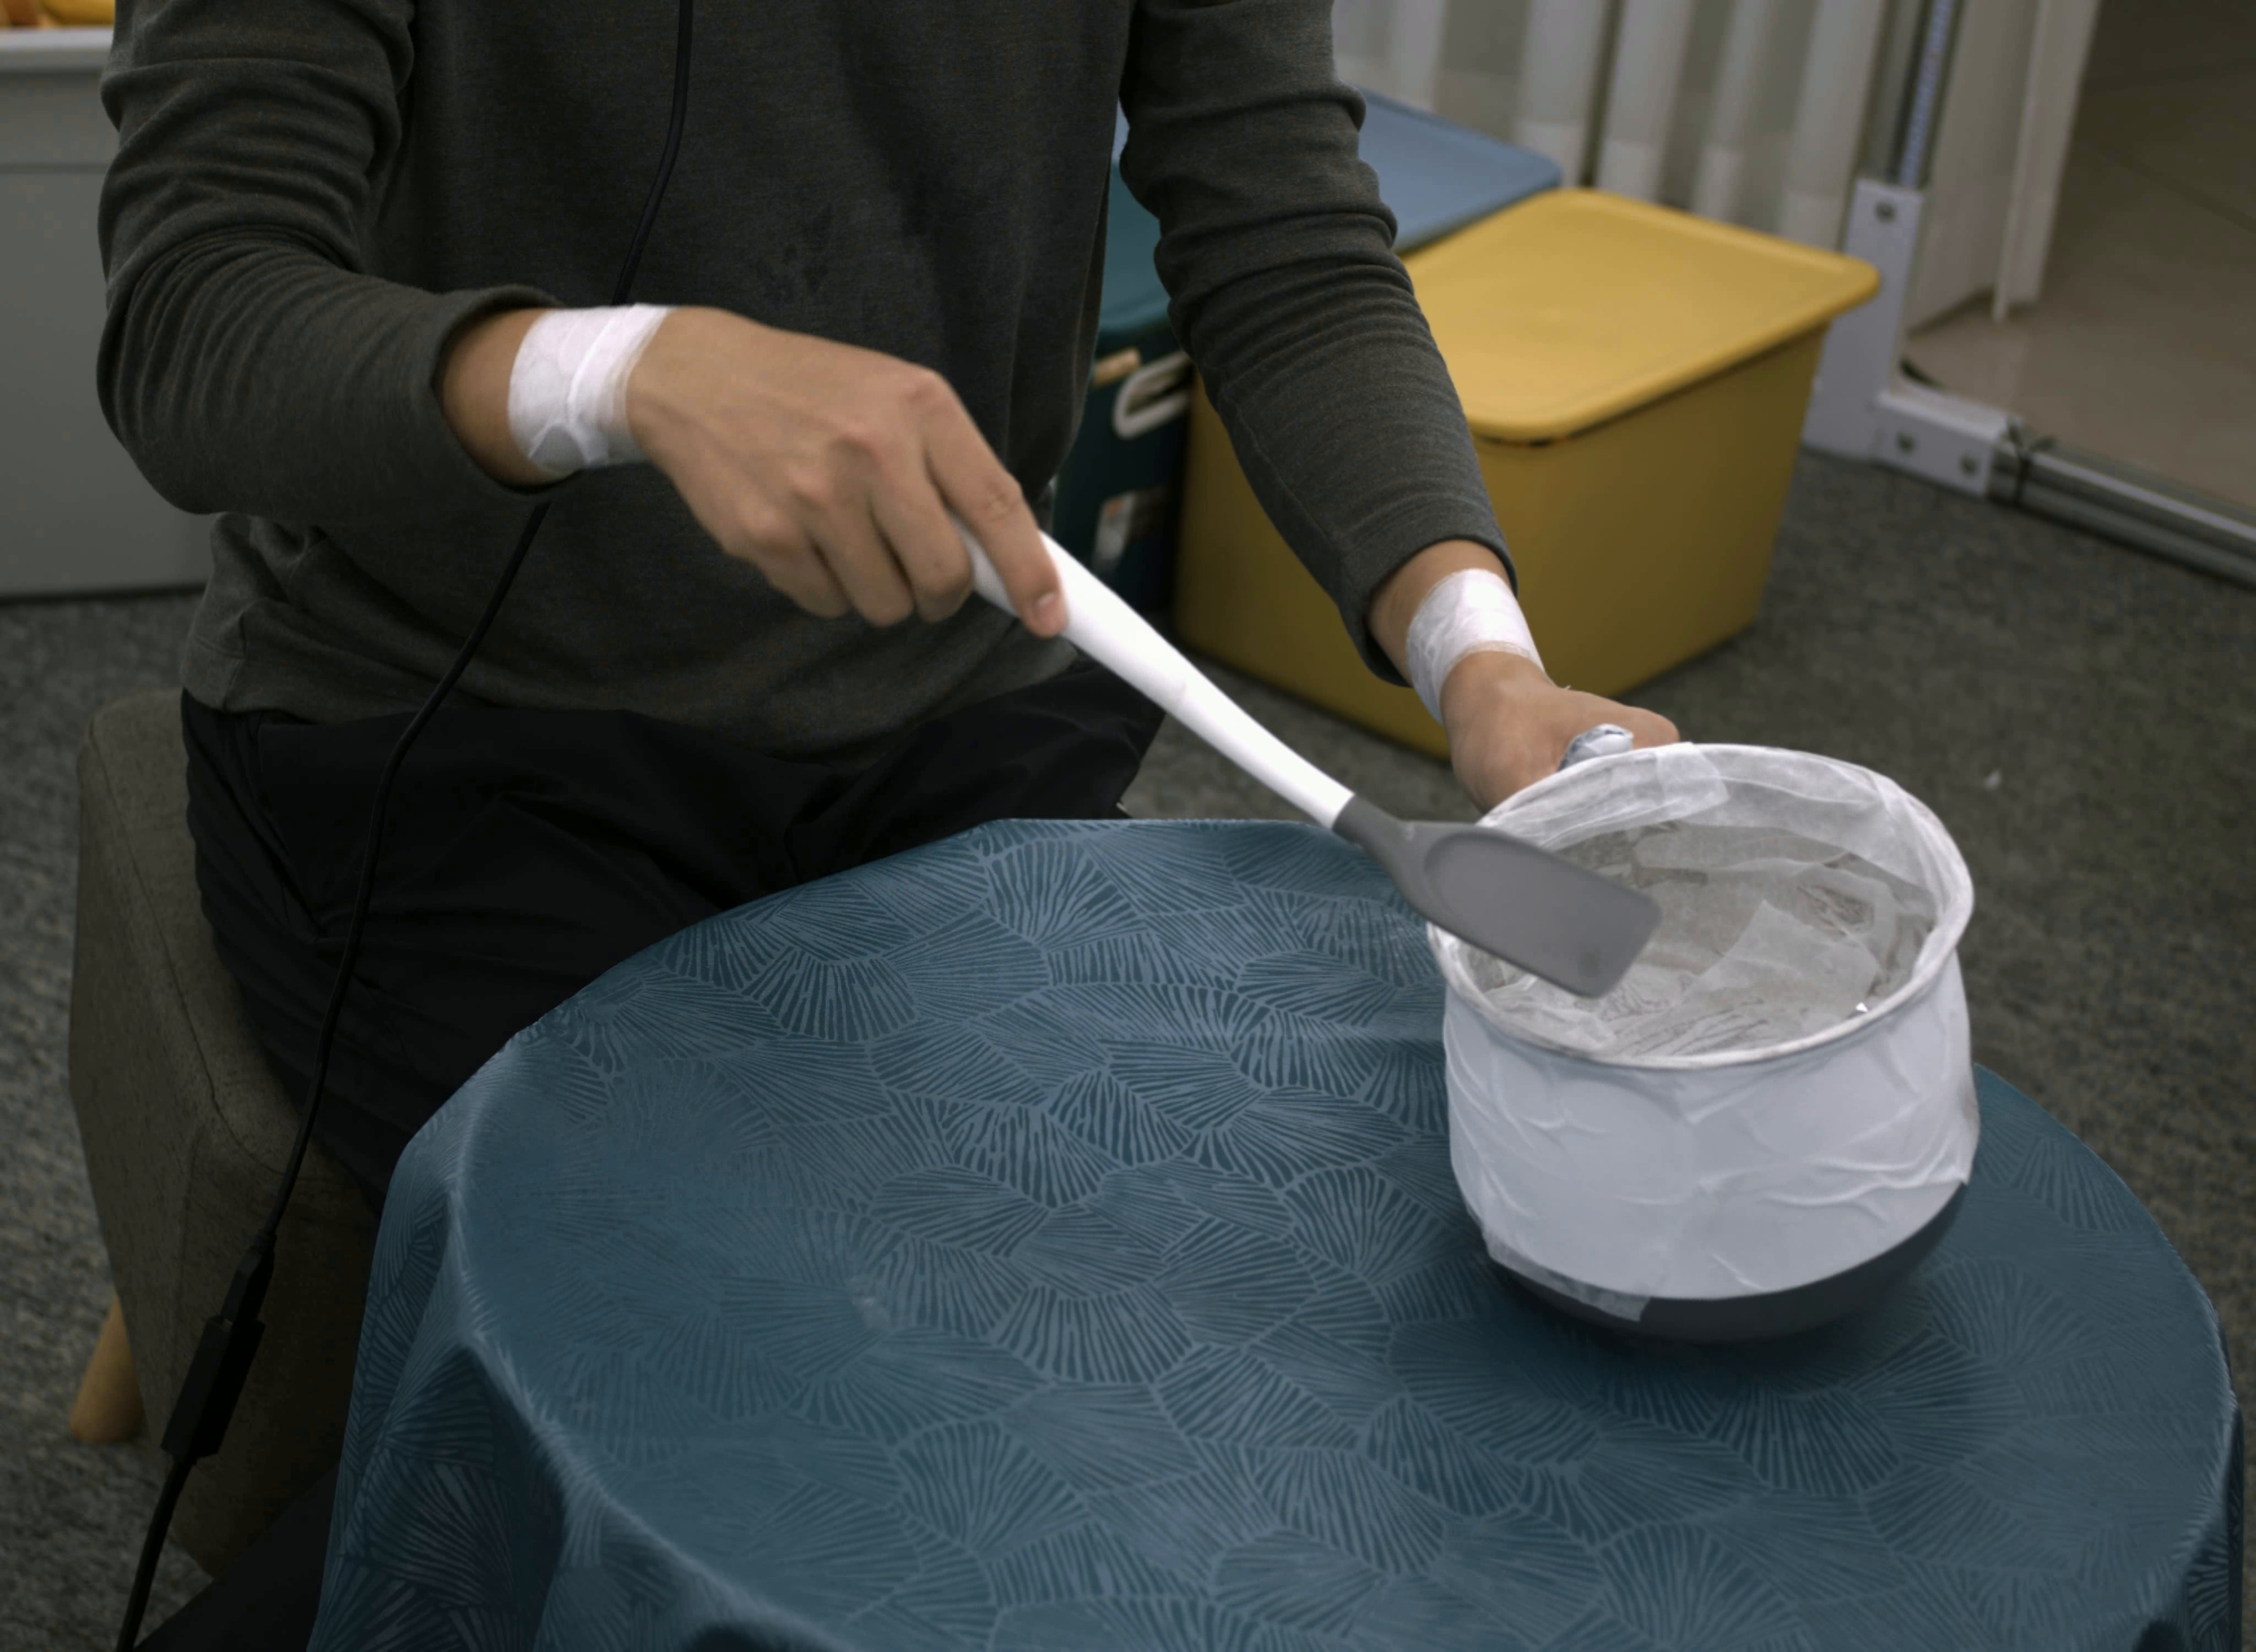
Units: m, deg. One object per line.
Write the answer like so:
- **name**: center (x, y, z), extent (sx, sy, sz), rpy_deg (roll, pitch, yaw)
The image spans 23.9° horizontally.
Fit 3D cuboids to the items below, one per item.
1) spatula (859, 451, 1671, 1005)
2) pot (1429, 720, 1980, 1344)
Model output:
- **spatula**: center (0.040, -0.031, 1.687), extent (0.288, 0.032, 0.059), rpy_deg (33, 50, 10)
- **pot**: center (0.185, 0.060, 1.785), extent (0.178, 0.136, 0.236), rpy_deg (-13, 35, -8)
